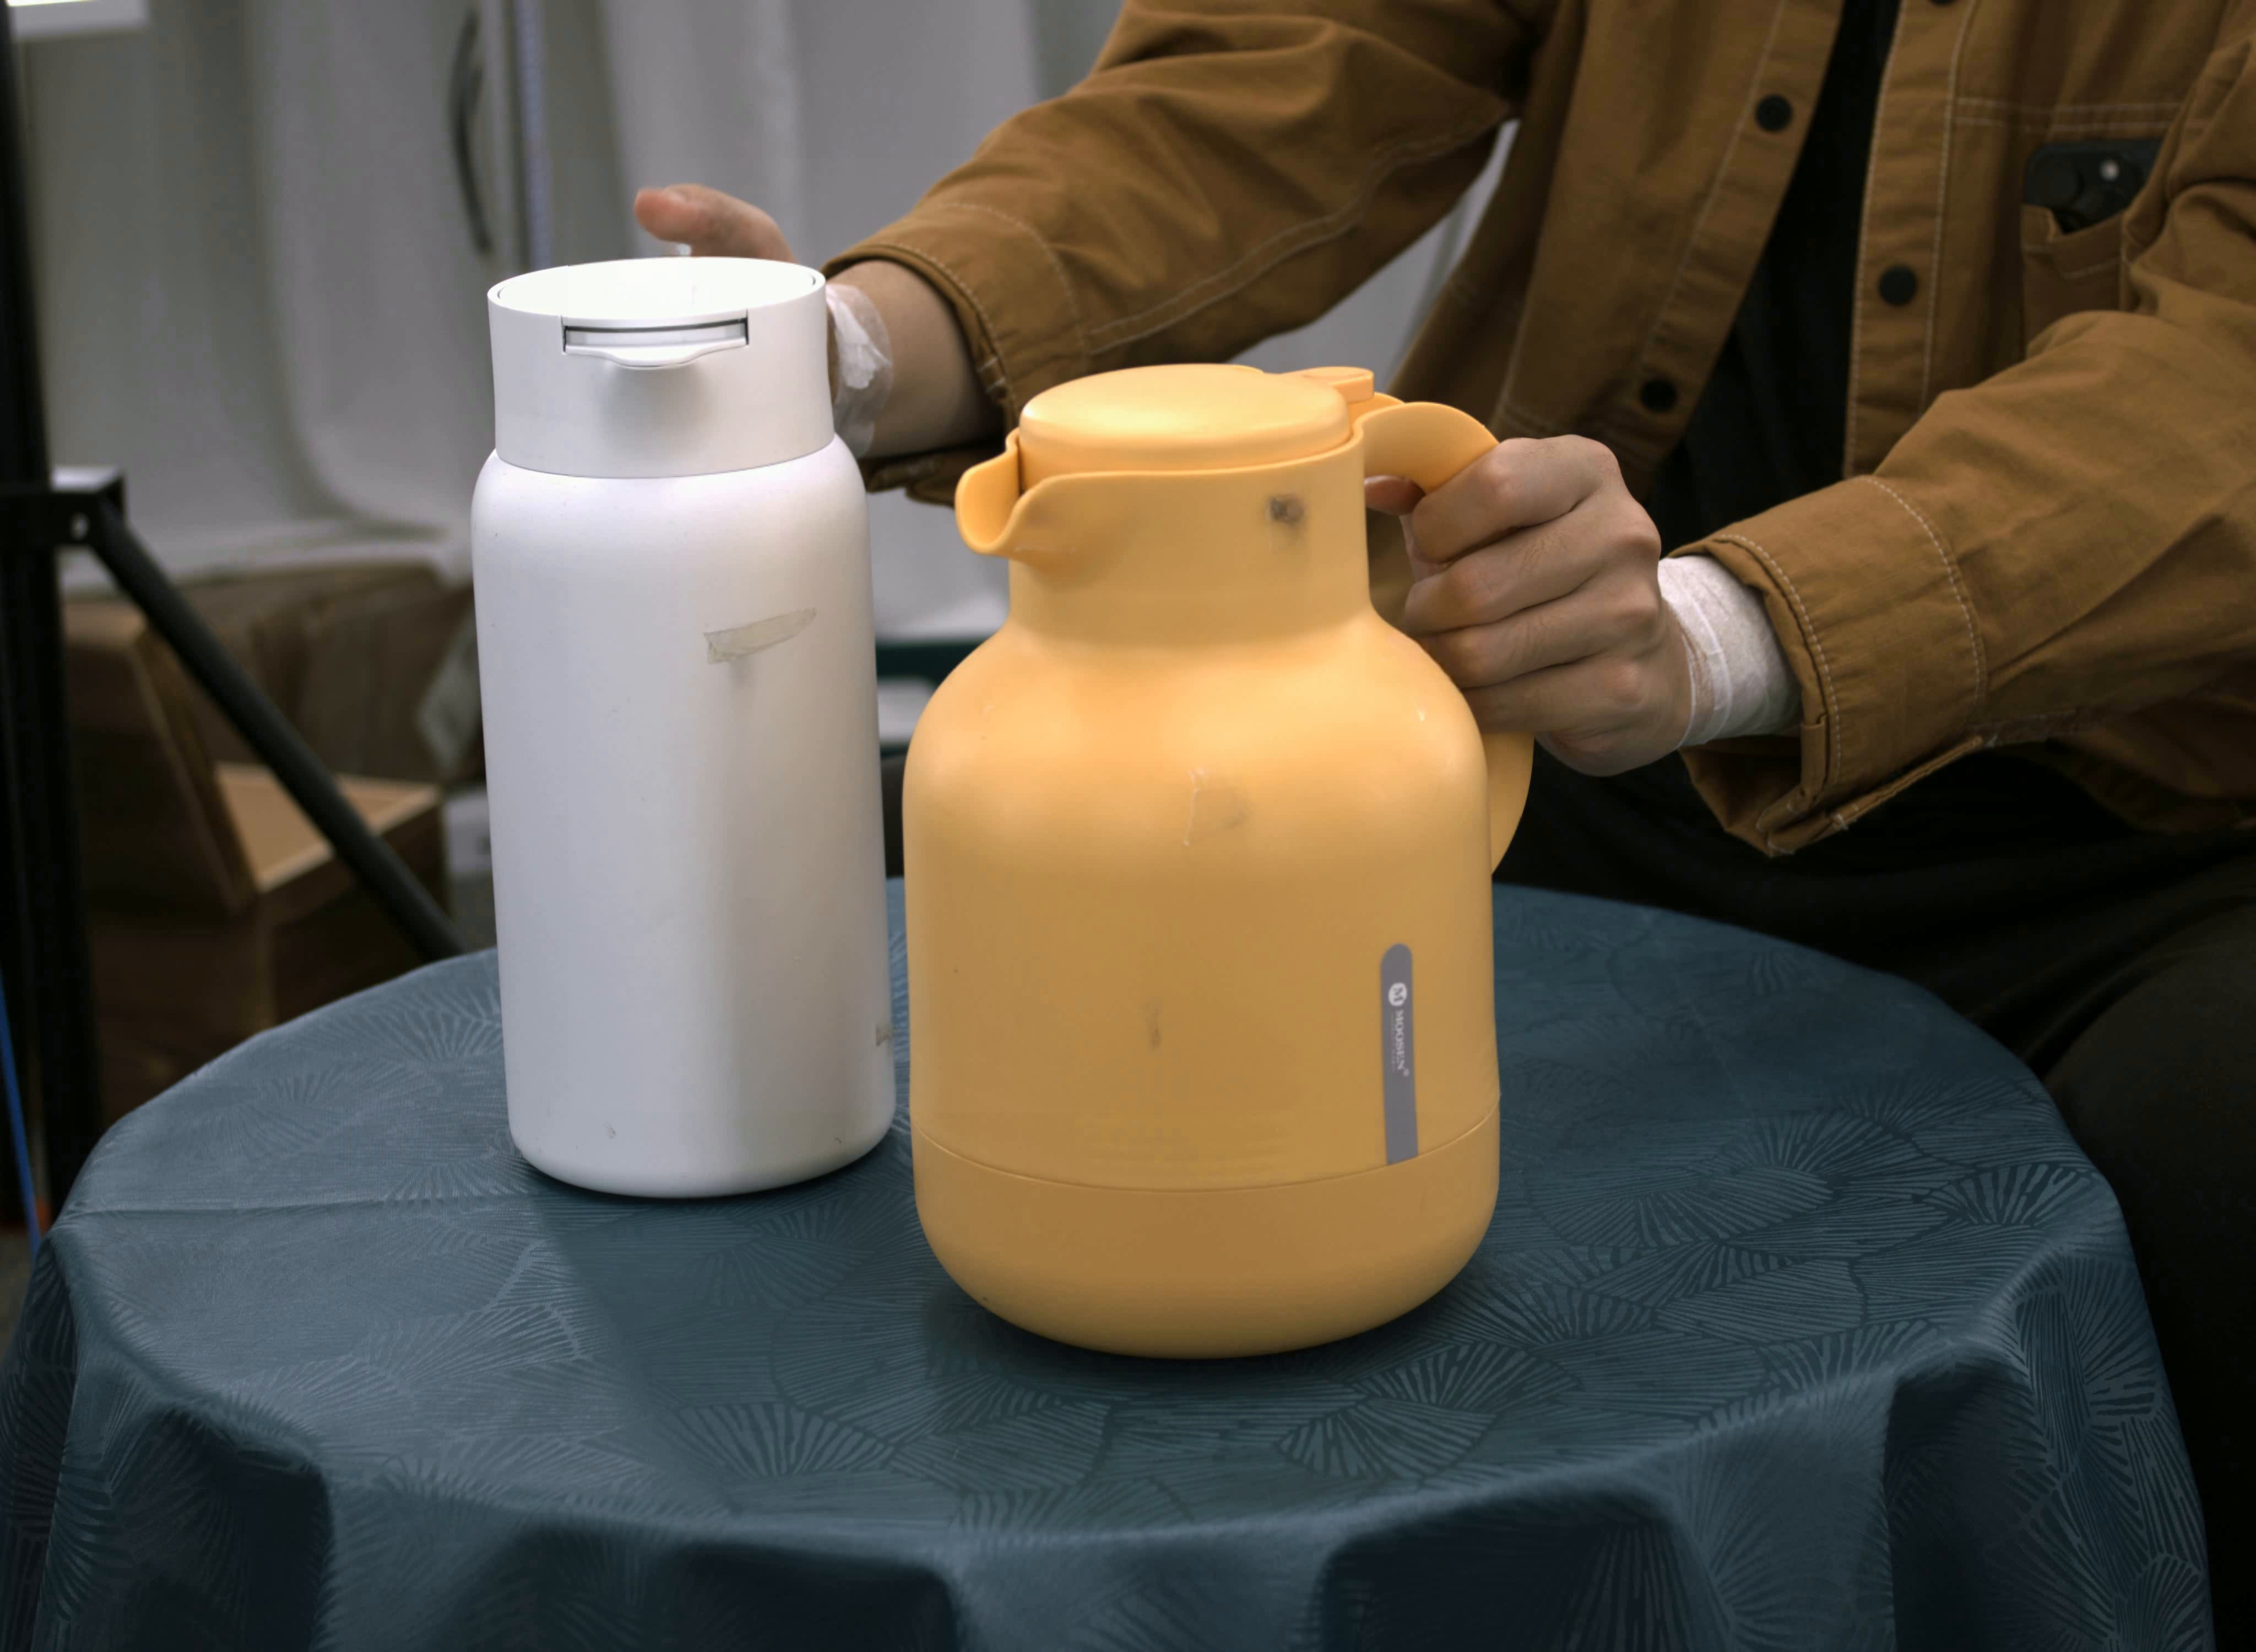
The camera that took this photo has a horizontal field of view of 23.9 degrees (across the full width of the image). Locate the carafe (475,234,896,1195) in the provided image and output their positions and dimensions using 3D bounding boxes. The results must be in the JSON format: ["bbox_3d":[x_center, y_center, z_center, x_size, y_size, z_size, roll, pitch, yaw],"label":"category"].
[{"bbox_3d":[-0.134,-0.037,1.600,0.123,0.268,0.174,-5,16,-2],"label":"carafe"}]

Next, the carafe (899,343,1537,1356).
[{"bbox_3d":[0.034,-0.001,1.452,0.198,0.260,0.167,-15,23,-36],"label":"carafe"}]
